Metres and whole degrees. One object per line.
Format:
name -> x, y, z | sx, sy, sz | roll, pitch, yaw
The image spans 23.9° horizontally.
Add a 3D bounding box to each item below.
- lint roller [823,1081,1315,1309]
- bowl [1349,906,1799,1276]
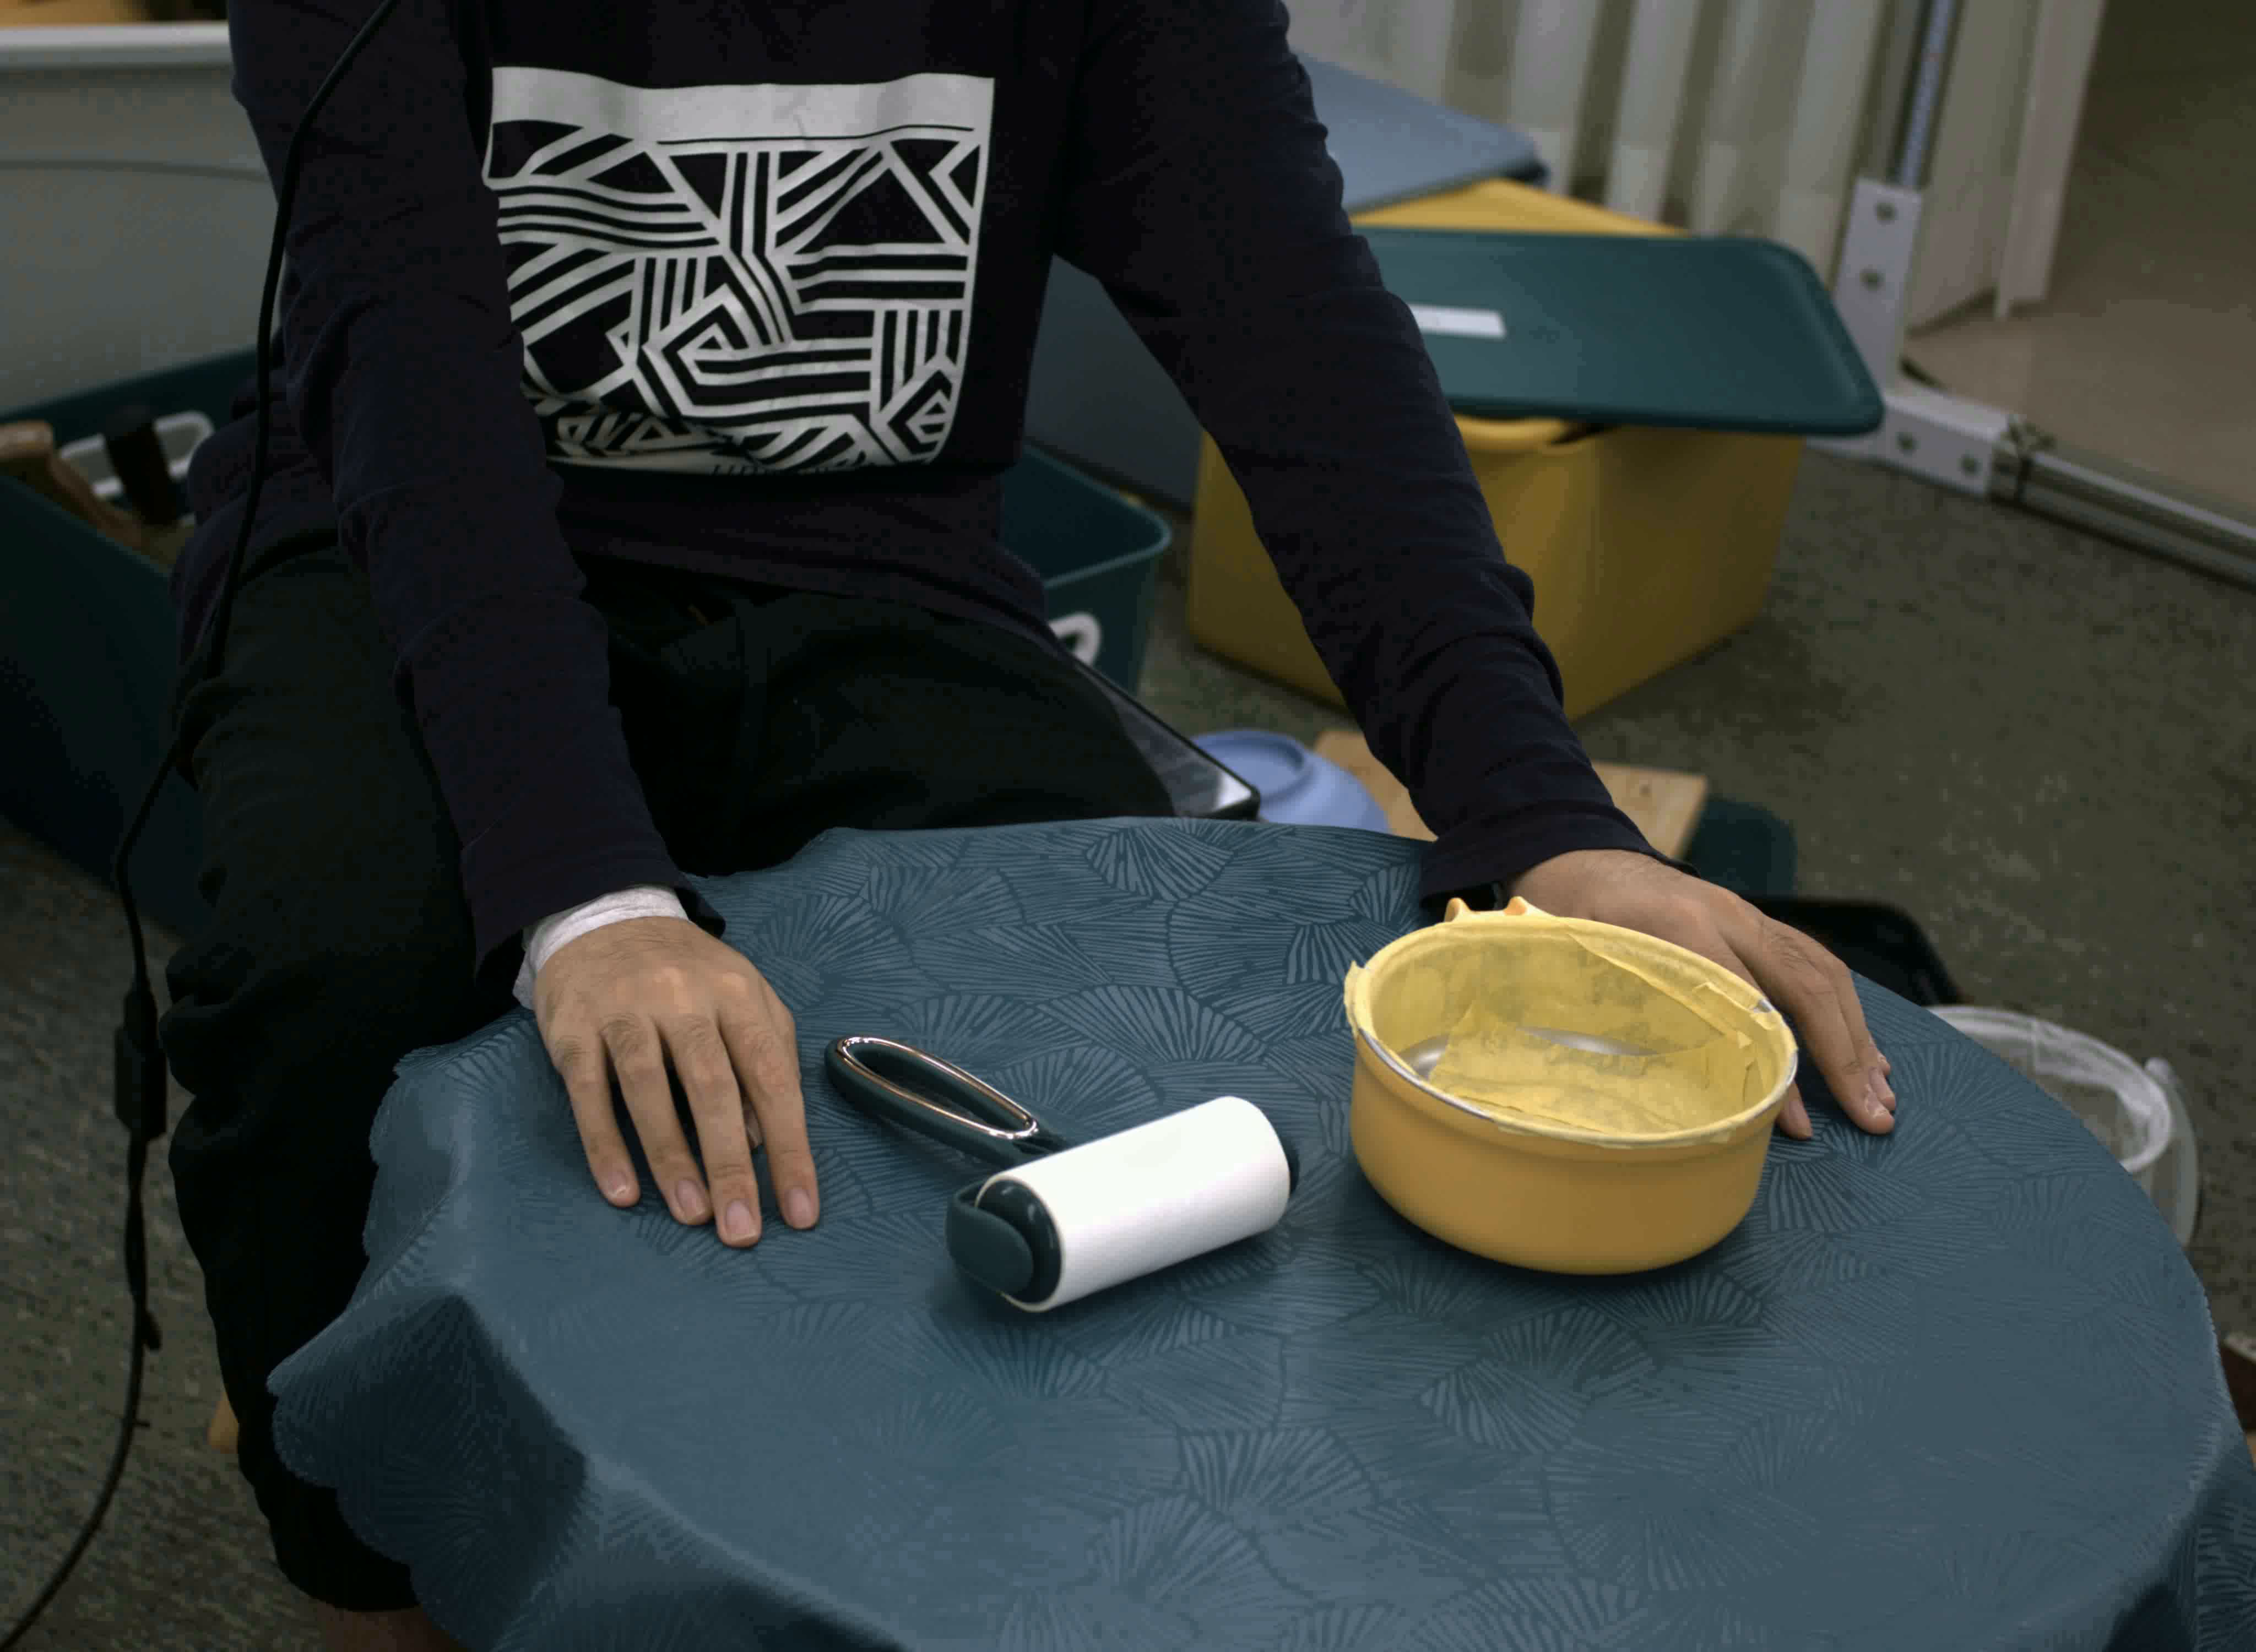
lint roller -> -0.043, 0.102, 1.799 | 0.133, 0.048, 0.181 | -17, 29, -37
bowl -> 0.145, 0.090, 1.833 | 0.152, 0.074, 0.181 | -5, 29, -20
